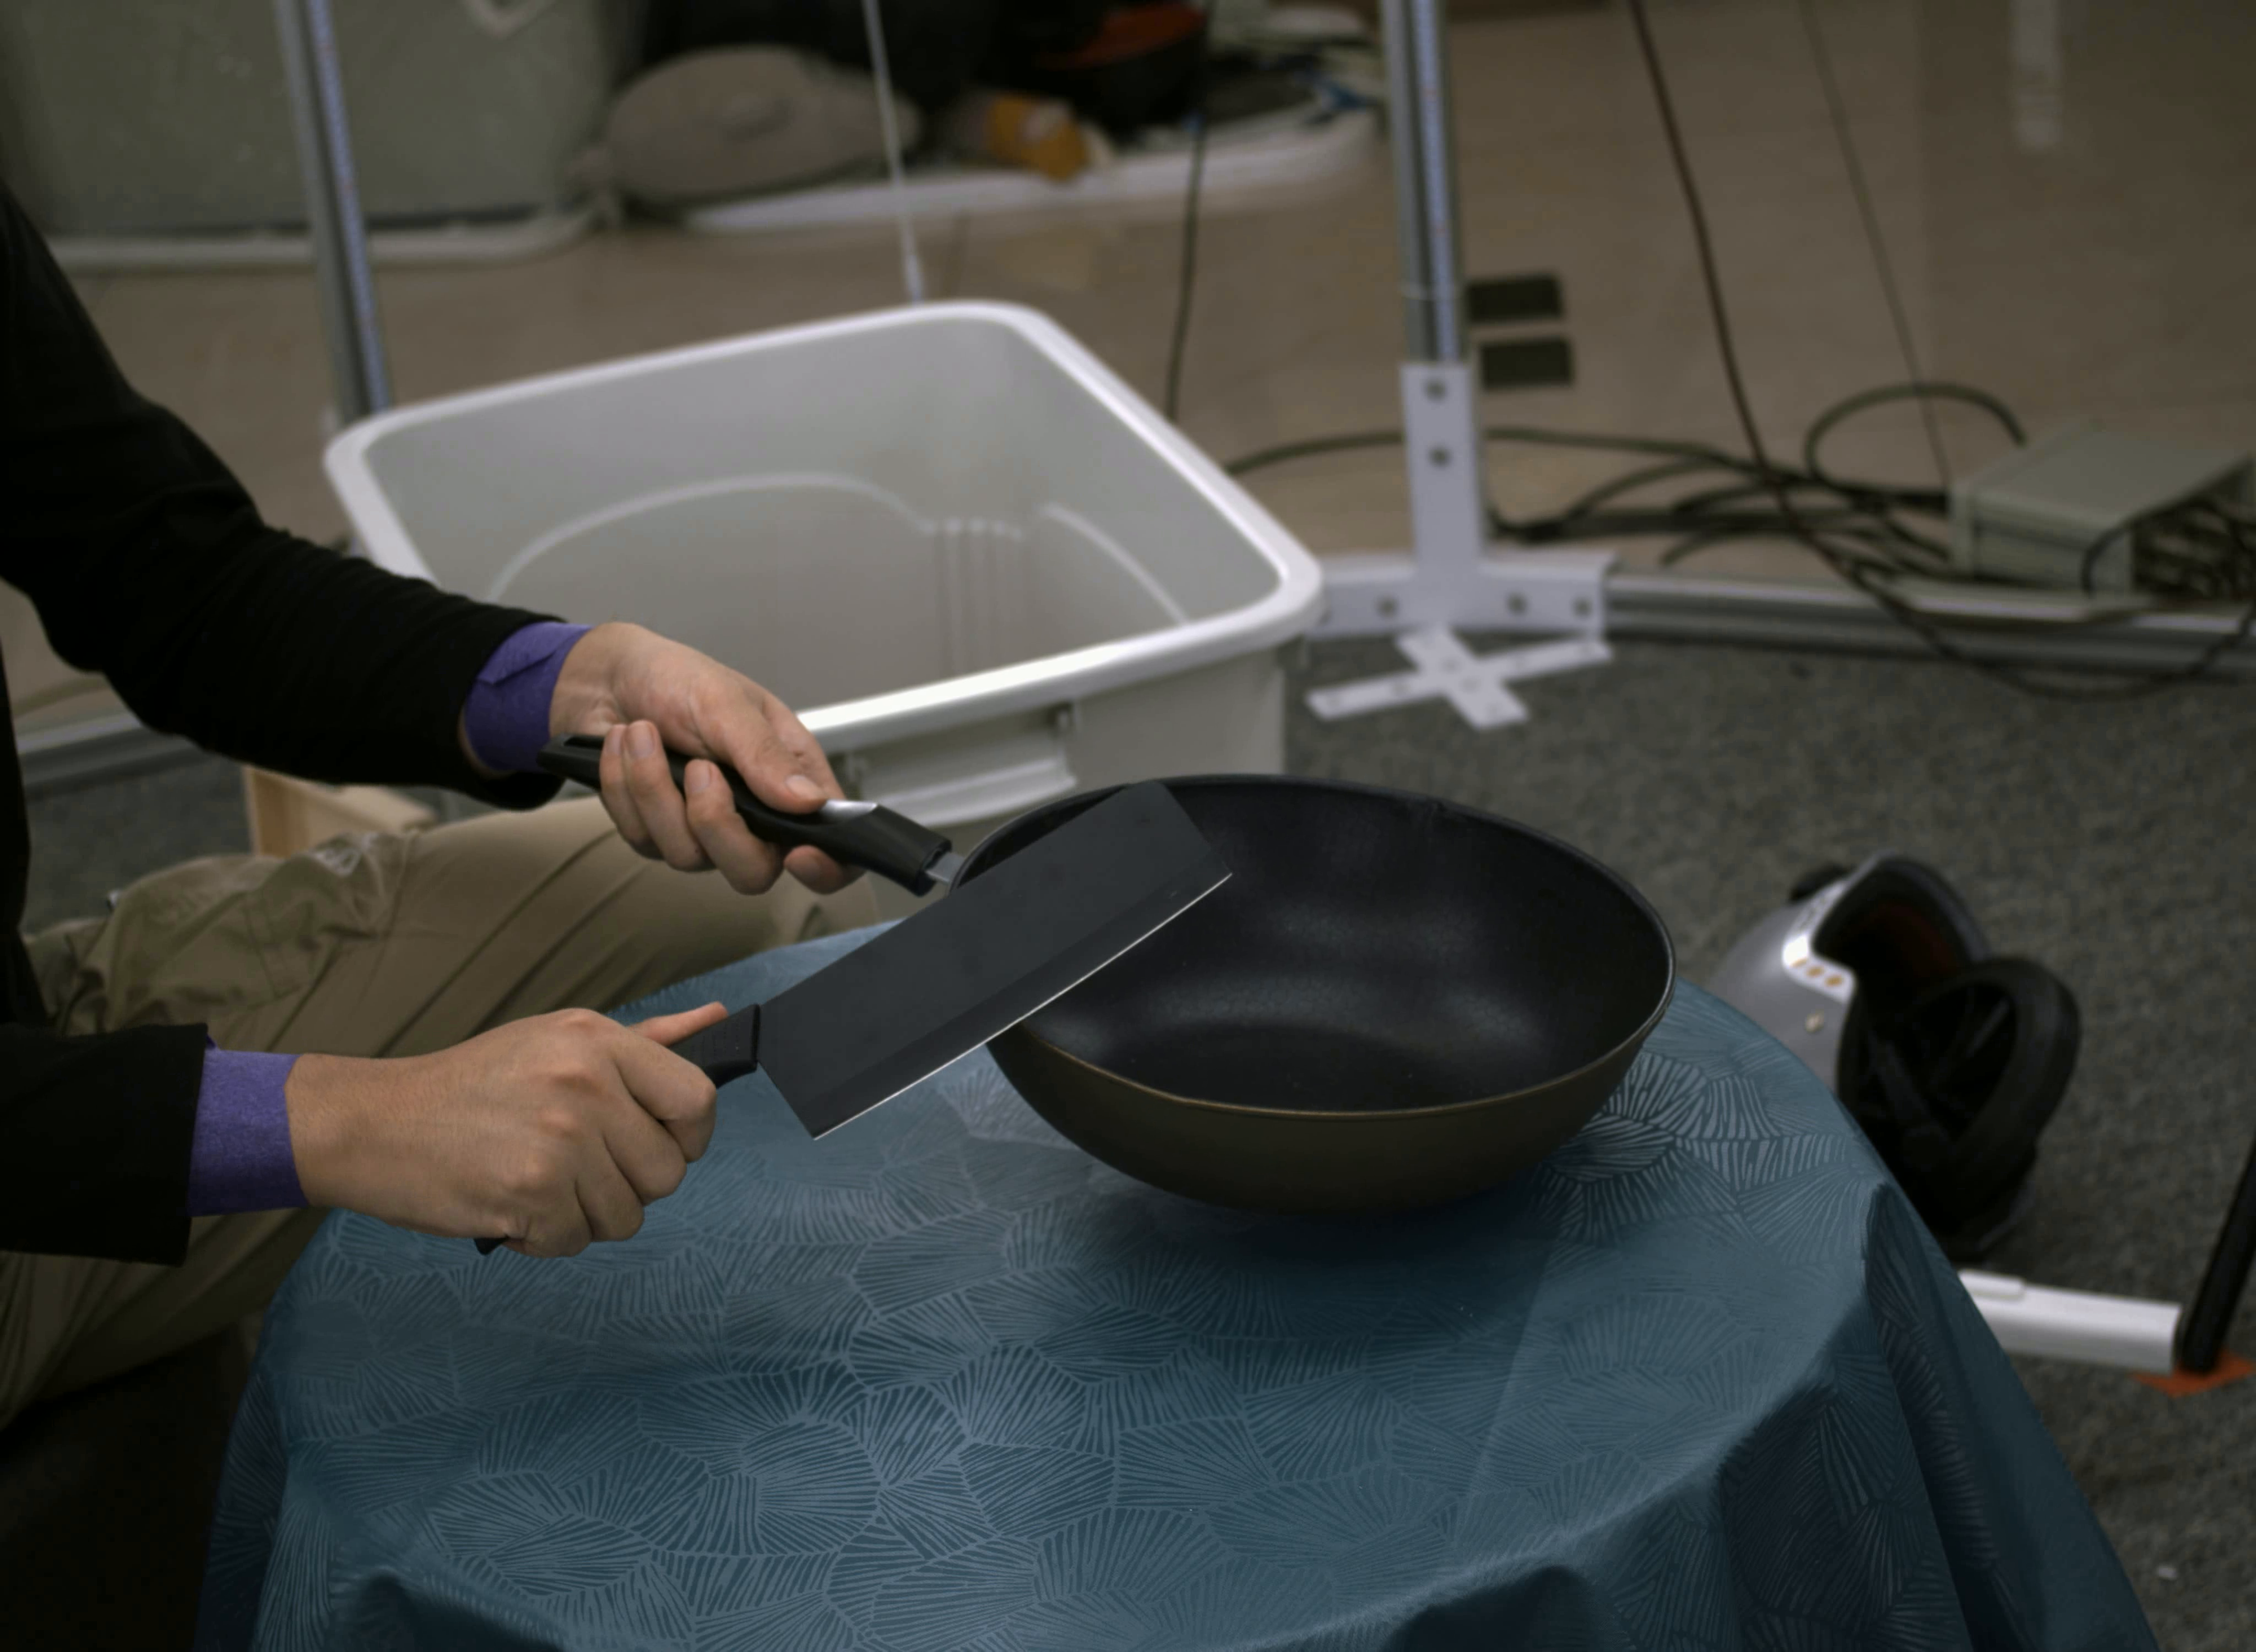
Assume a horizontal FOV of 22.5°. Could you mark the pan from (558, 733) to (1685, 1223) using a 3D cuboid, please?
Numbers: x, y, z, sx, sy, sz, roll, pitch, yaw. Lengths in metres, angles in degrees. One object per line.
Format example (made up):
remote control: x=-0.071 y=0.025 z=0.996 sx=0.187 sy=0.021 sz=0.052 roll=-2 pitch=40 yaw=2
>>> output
pan: x=-0.016 y=0.054 z=2.174 sx=0.461 sy=0.088 sz=0.285 roll=14 pitch=27 yaw=19

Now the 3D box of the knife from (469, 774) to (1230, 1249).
knife: x=-0.104 y=0.072 z=2.051 sx=0.301 sy=0.021 sz=0.079 roll=-27 pitch=52 yaw=-5
